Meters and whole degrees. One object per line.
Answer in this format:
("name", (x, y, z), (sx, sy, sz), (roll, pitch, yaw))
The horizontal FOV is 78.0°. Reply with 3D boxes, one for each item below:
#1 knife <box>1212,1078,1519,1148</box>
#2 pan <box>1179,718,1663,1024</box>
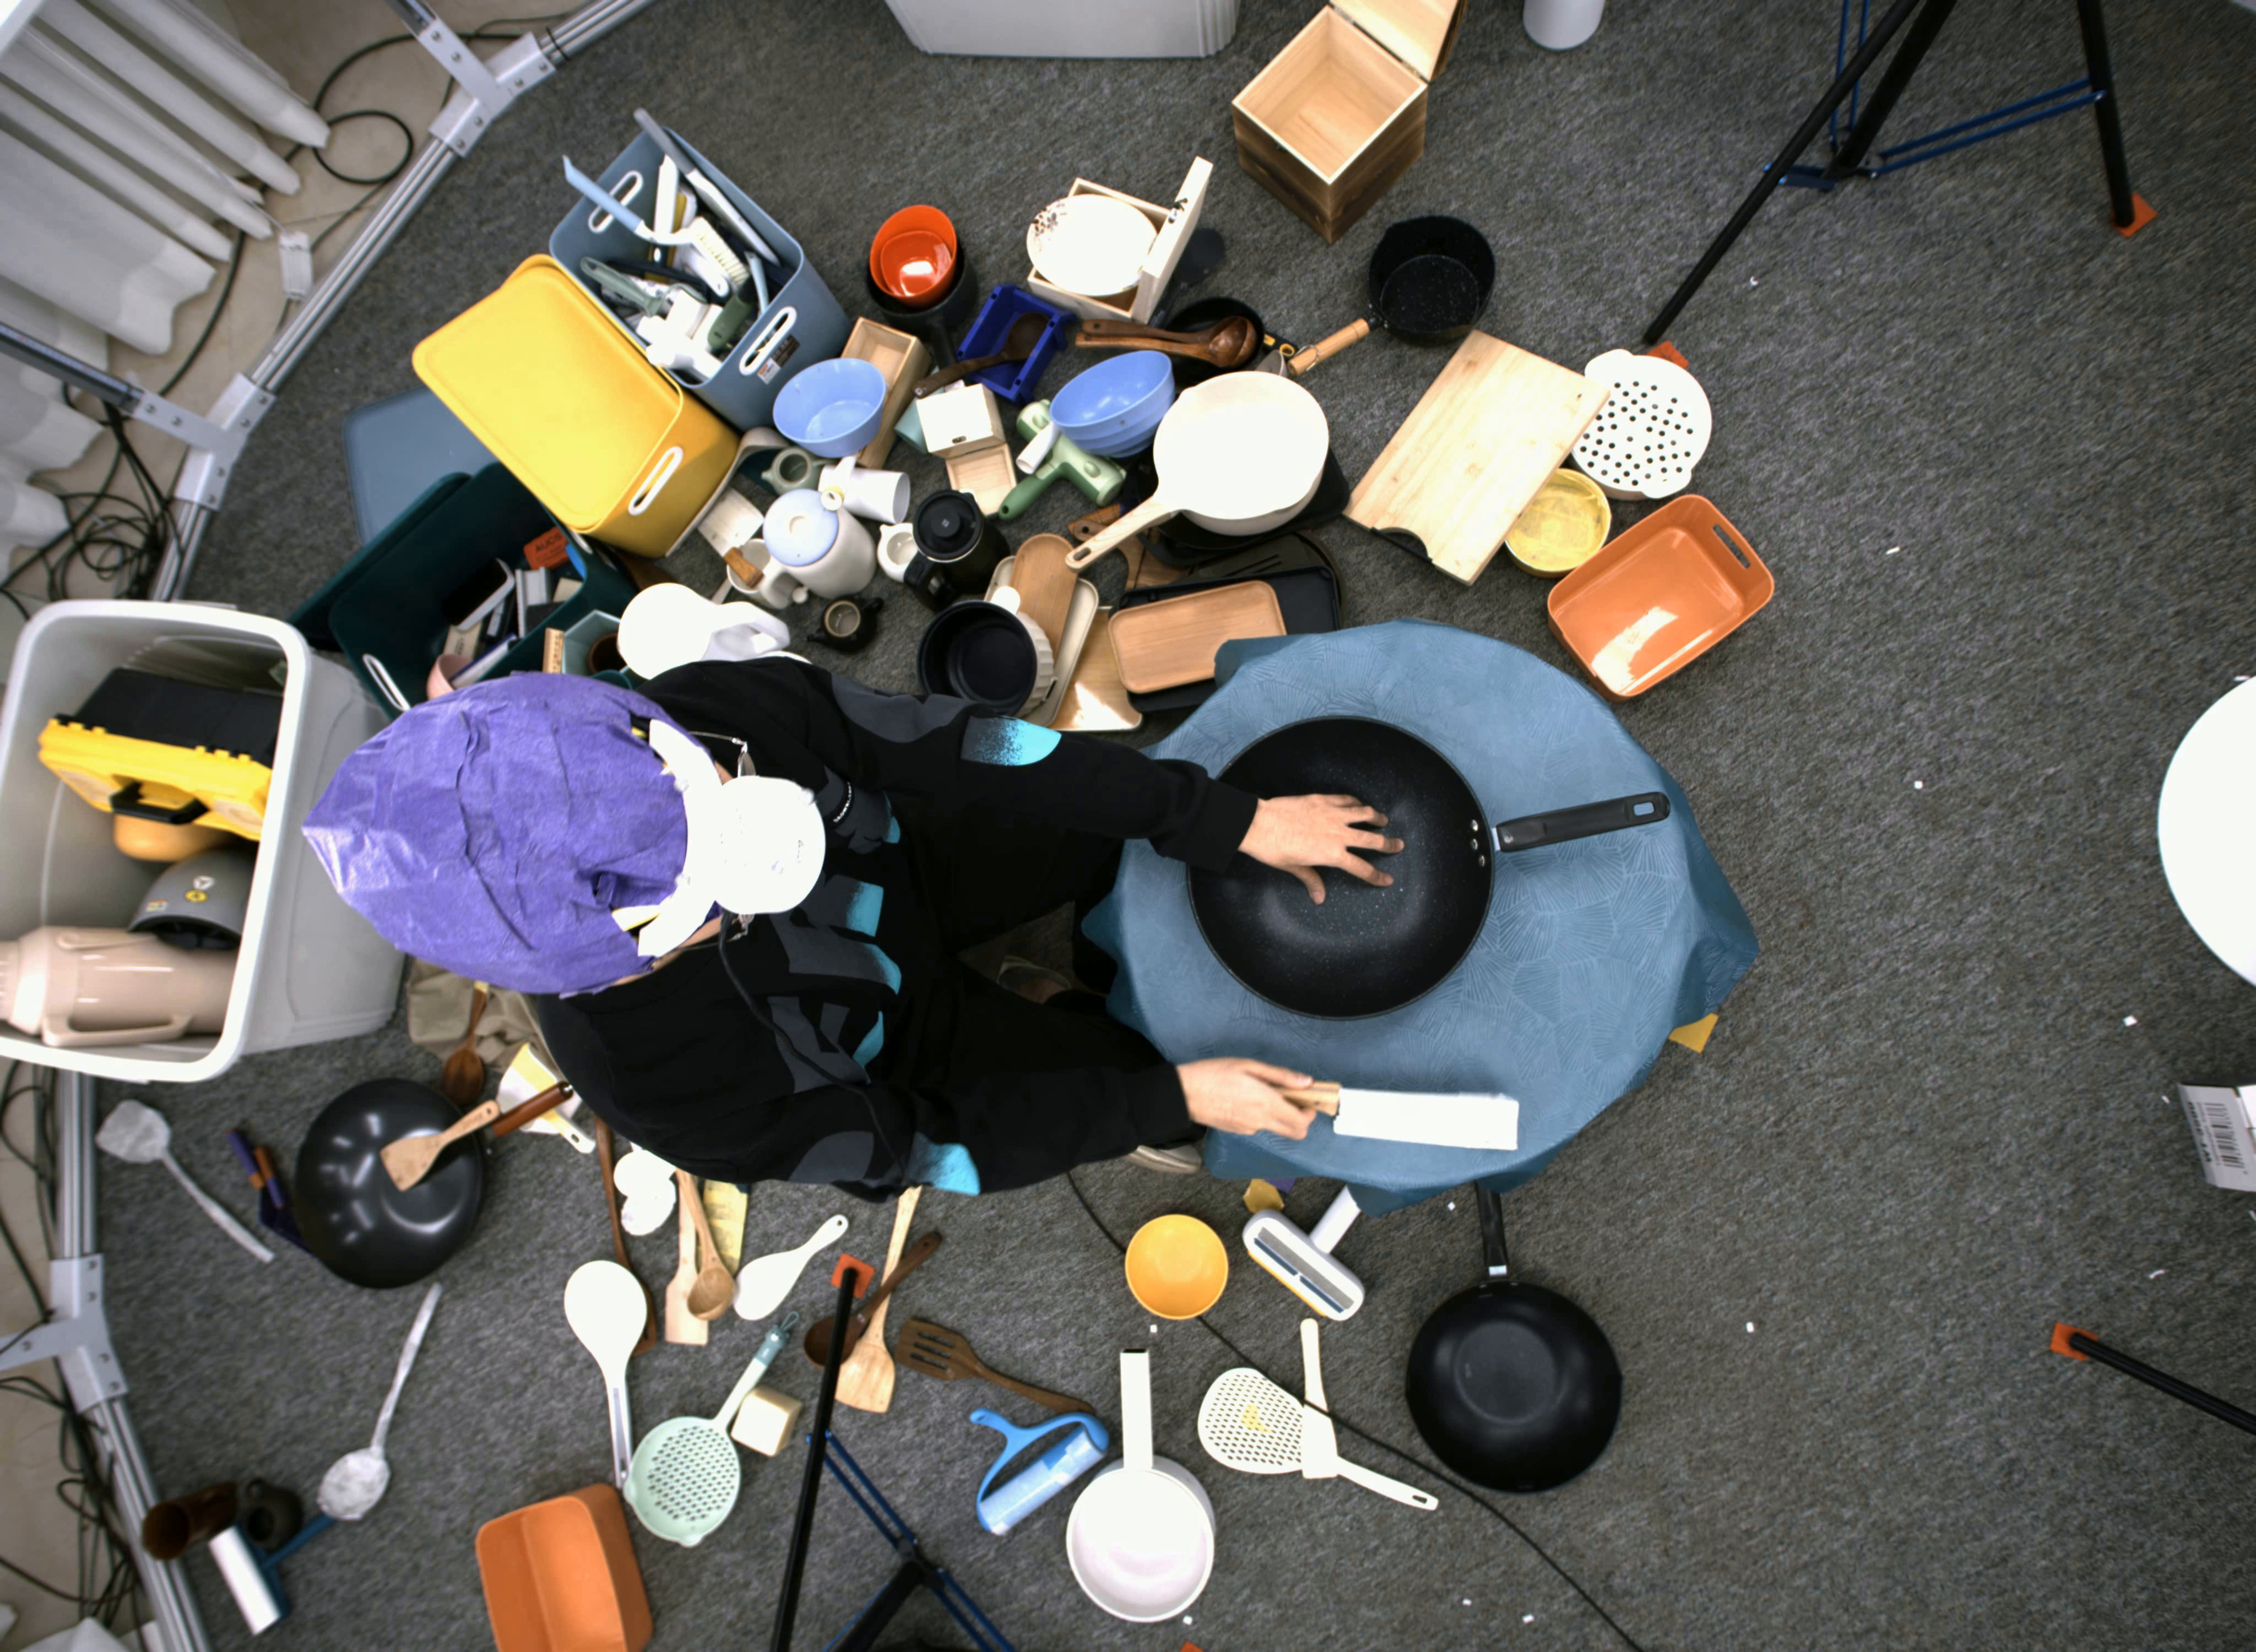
("knife", (0.243, 0.285, 1.411), (0.316, 0.117, 0.021), (4, 44, 10))
("pan", (0.291, 0.030, 1.405), (0.479, 0.111, 0.309), (-11, 86, 10))
